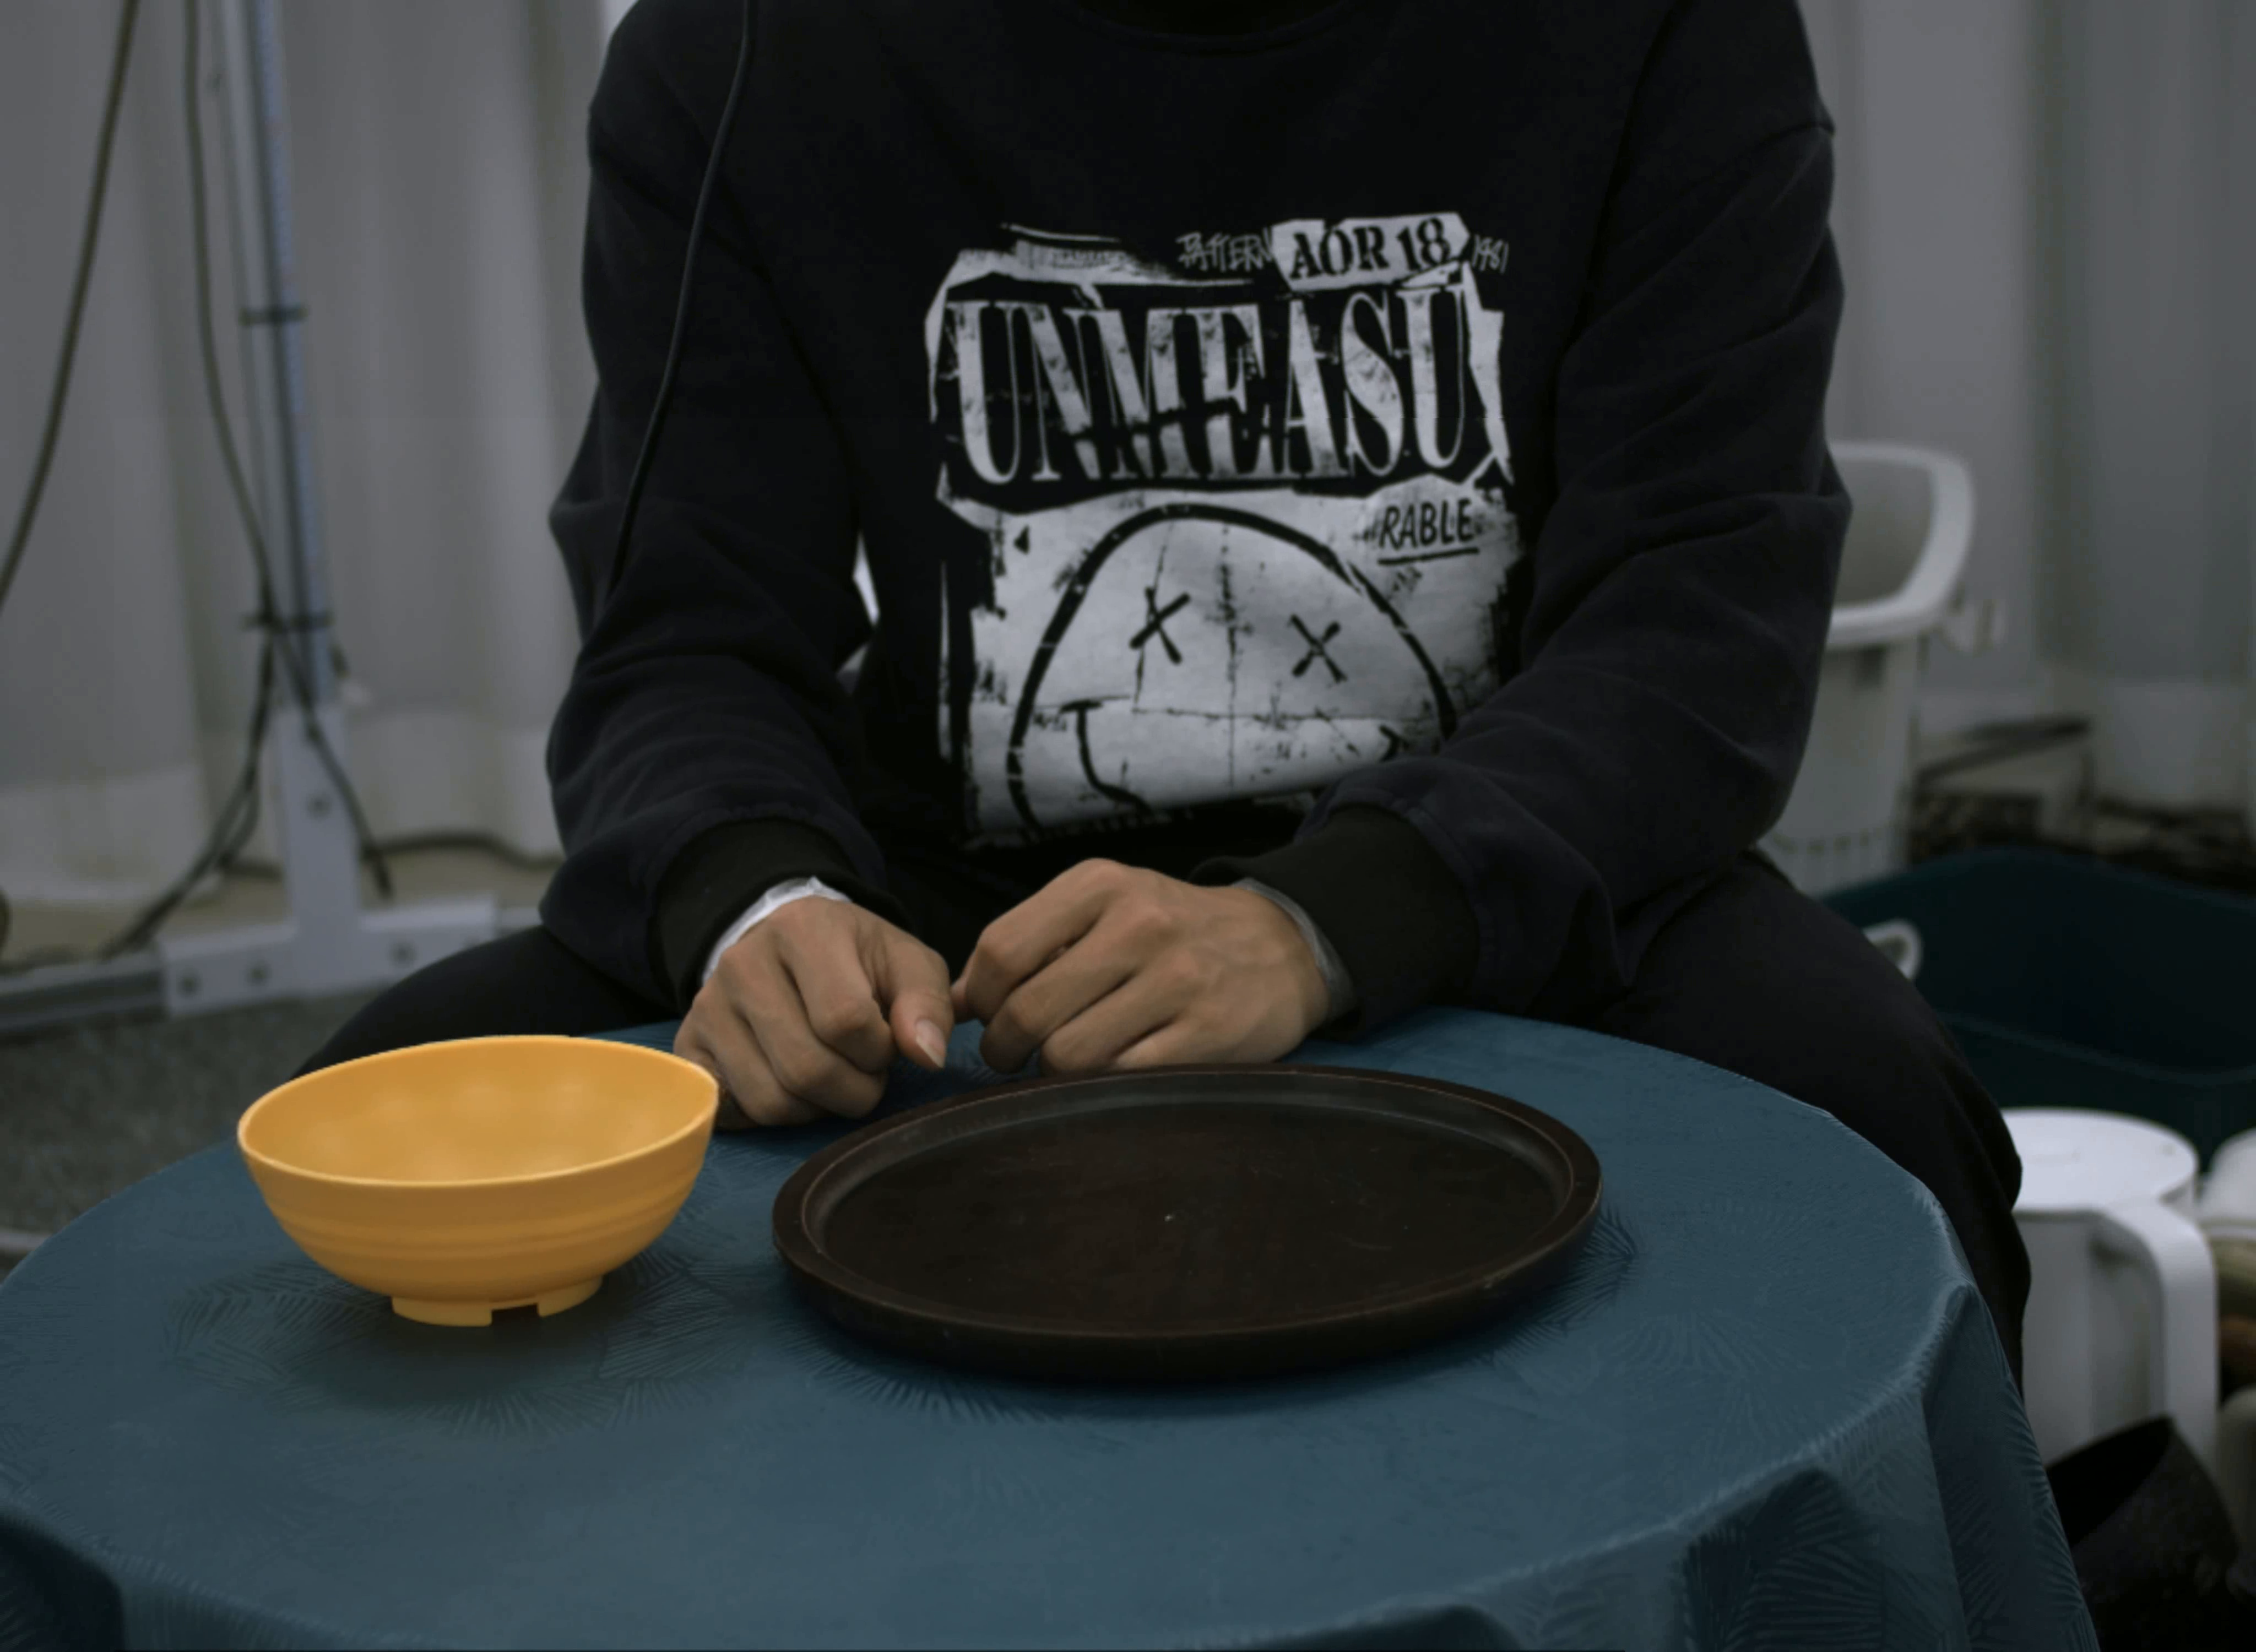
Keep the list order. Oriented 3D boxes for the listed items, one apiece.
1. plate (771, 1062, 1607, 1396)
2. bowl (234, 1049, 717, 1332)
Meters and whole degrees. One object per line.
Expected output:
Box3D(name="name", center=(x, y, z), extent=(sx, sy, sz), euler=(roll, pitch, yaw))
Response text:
Box3D(name="plate", center=(0.019, 0.120, 1.651), extent=(0.254, 0.029, 0.256), euler=(-4, 14, 1))
Box3D(name="bowl", center=(-0.195, 0.114, 1.647), extent=(0.145, 0.060, 0.146), euler=(-1, 13, 0))
